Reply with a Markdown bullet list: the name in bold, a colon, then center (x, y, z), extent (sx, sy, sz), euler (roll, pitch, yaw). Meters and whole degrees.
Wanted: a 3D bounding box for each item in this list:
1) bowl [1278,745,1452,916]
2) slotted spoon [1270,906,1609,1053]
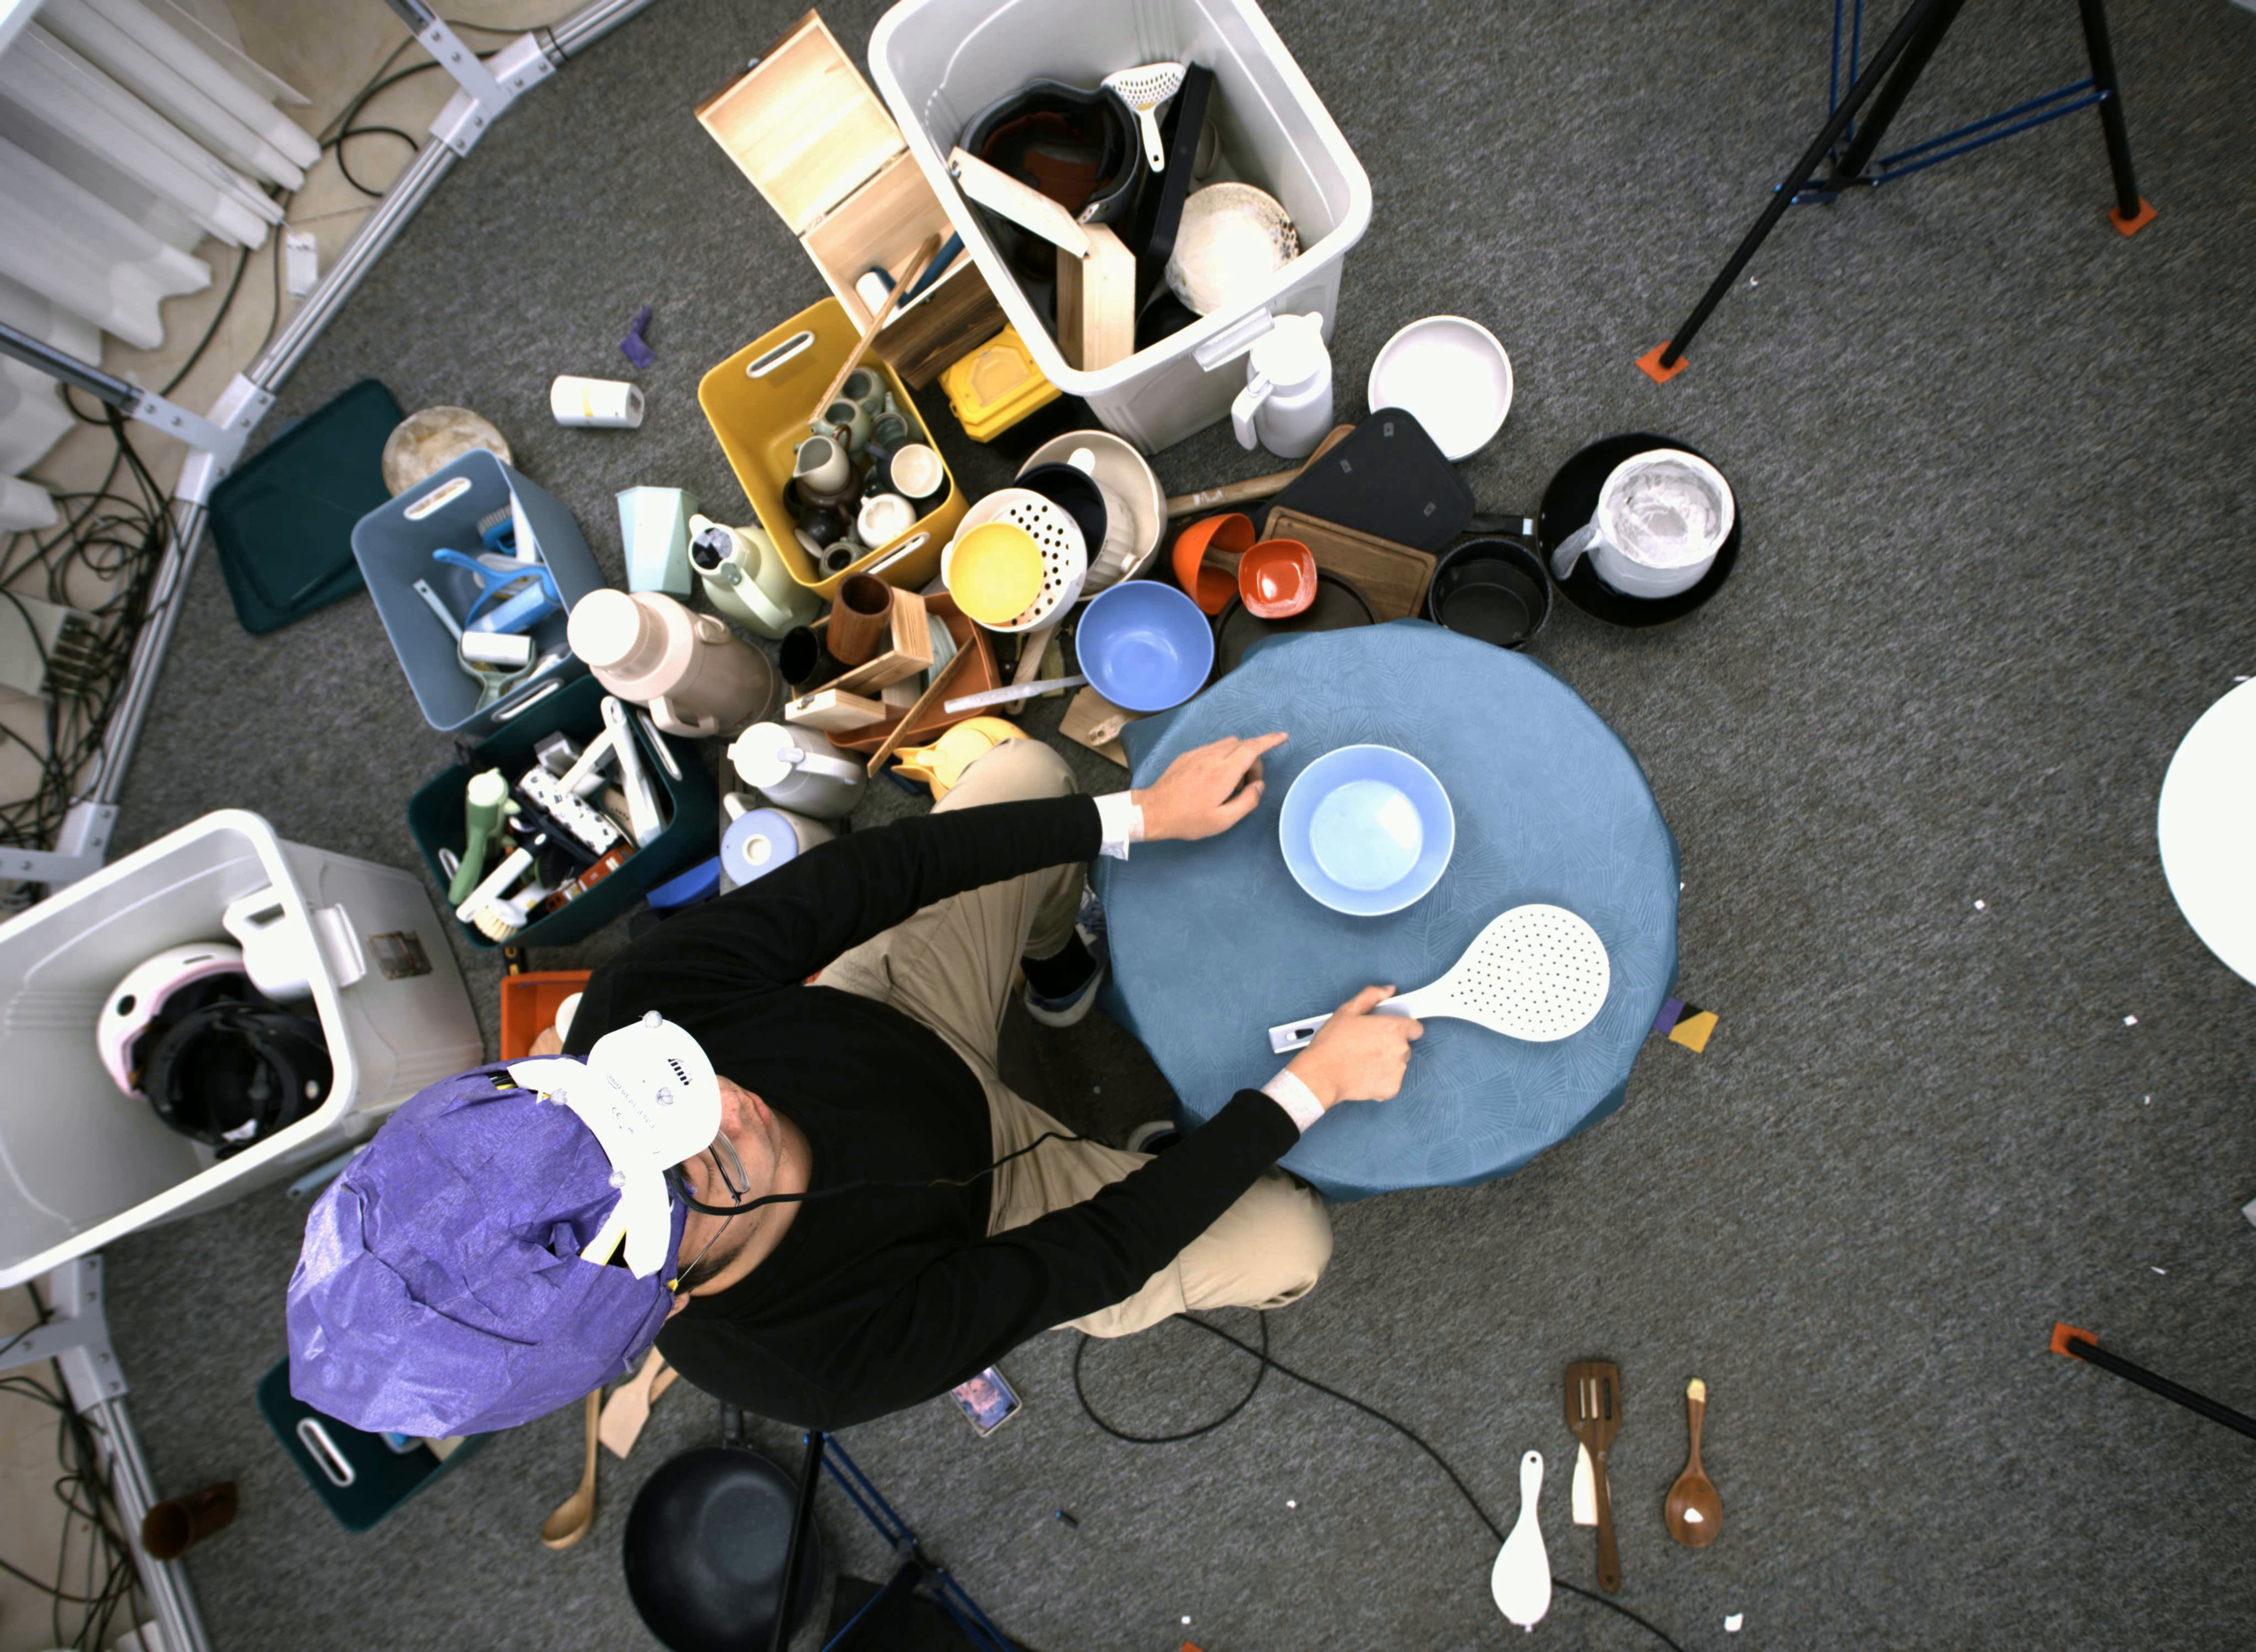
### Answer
- **bowl**: center (0.246, 0.006, 1.433), extent (0.177, 0.070, 0.175), euler (-1, 87, 11)
- **slotted spoon**: center (0.316, 0.178, 1.423), extent (0.352, 0.046, 0.135), euler (-17, 83, 10)
